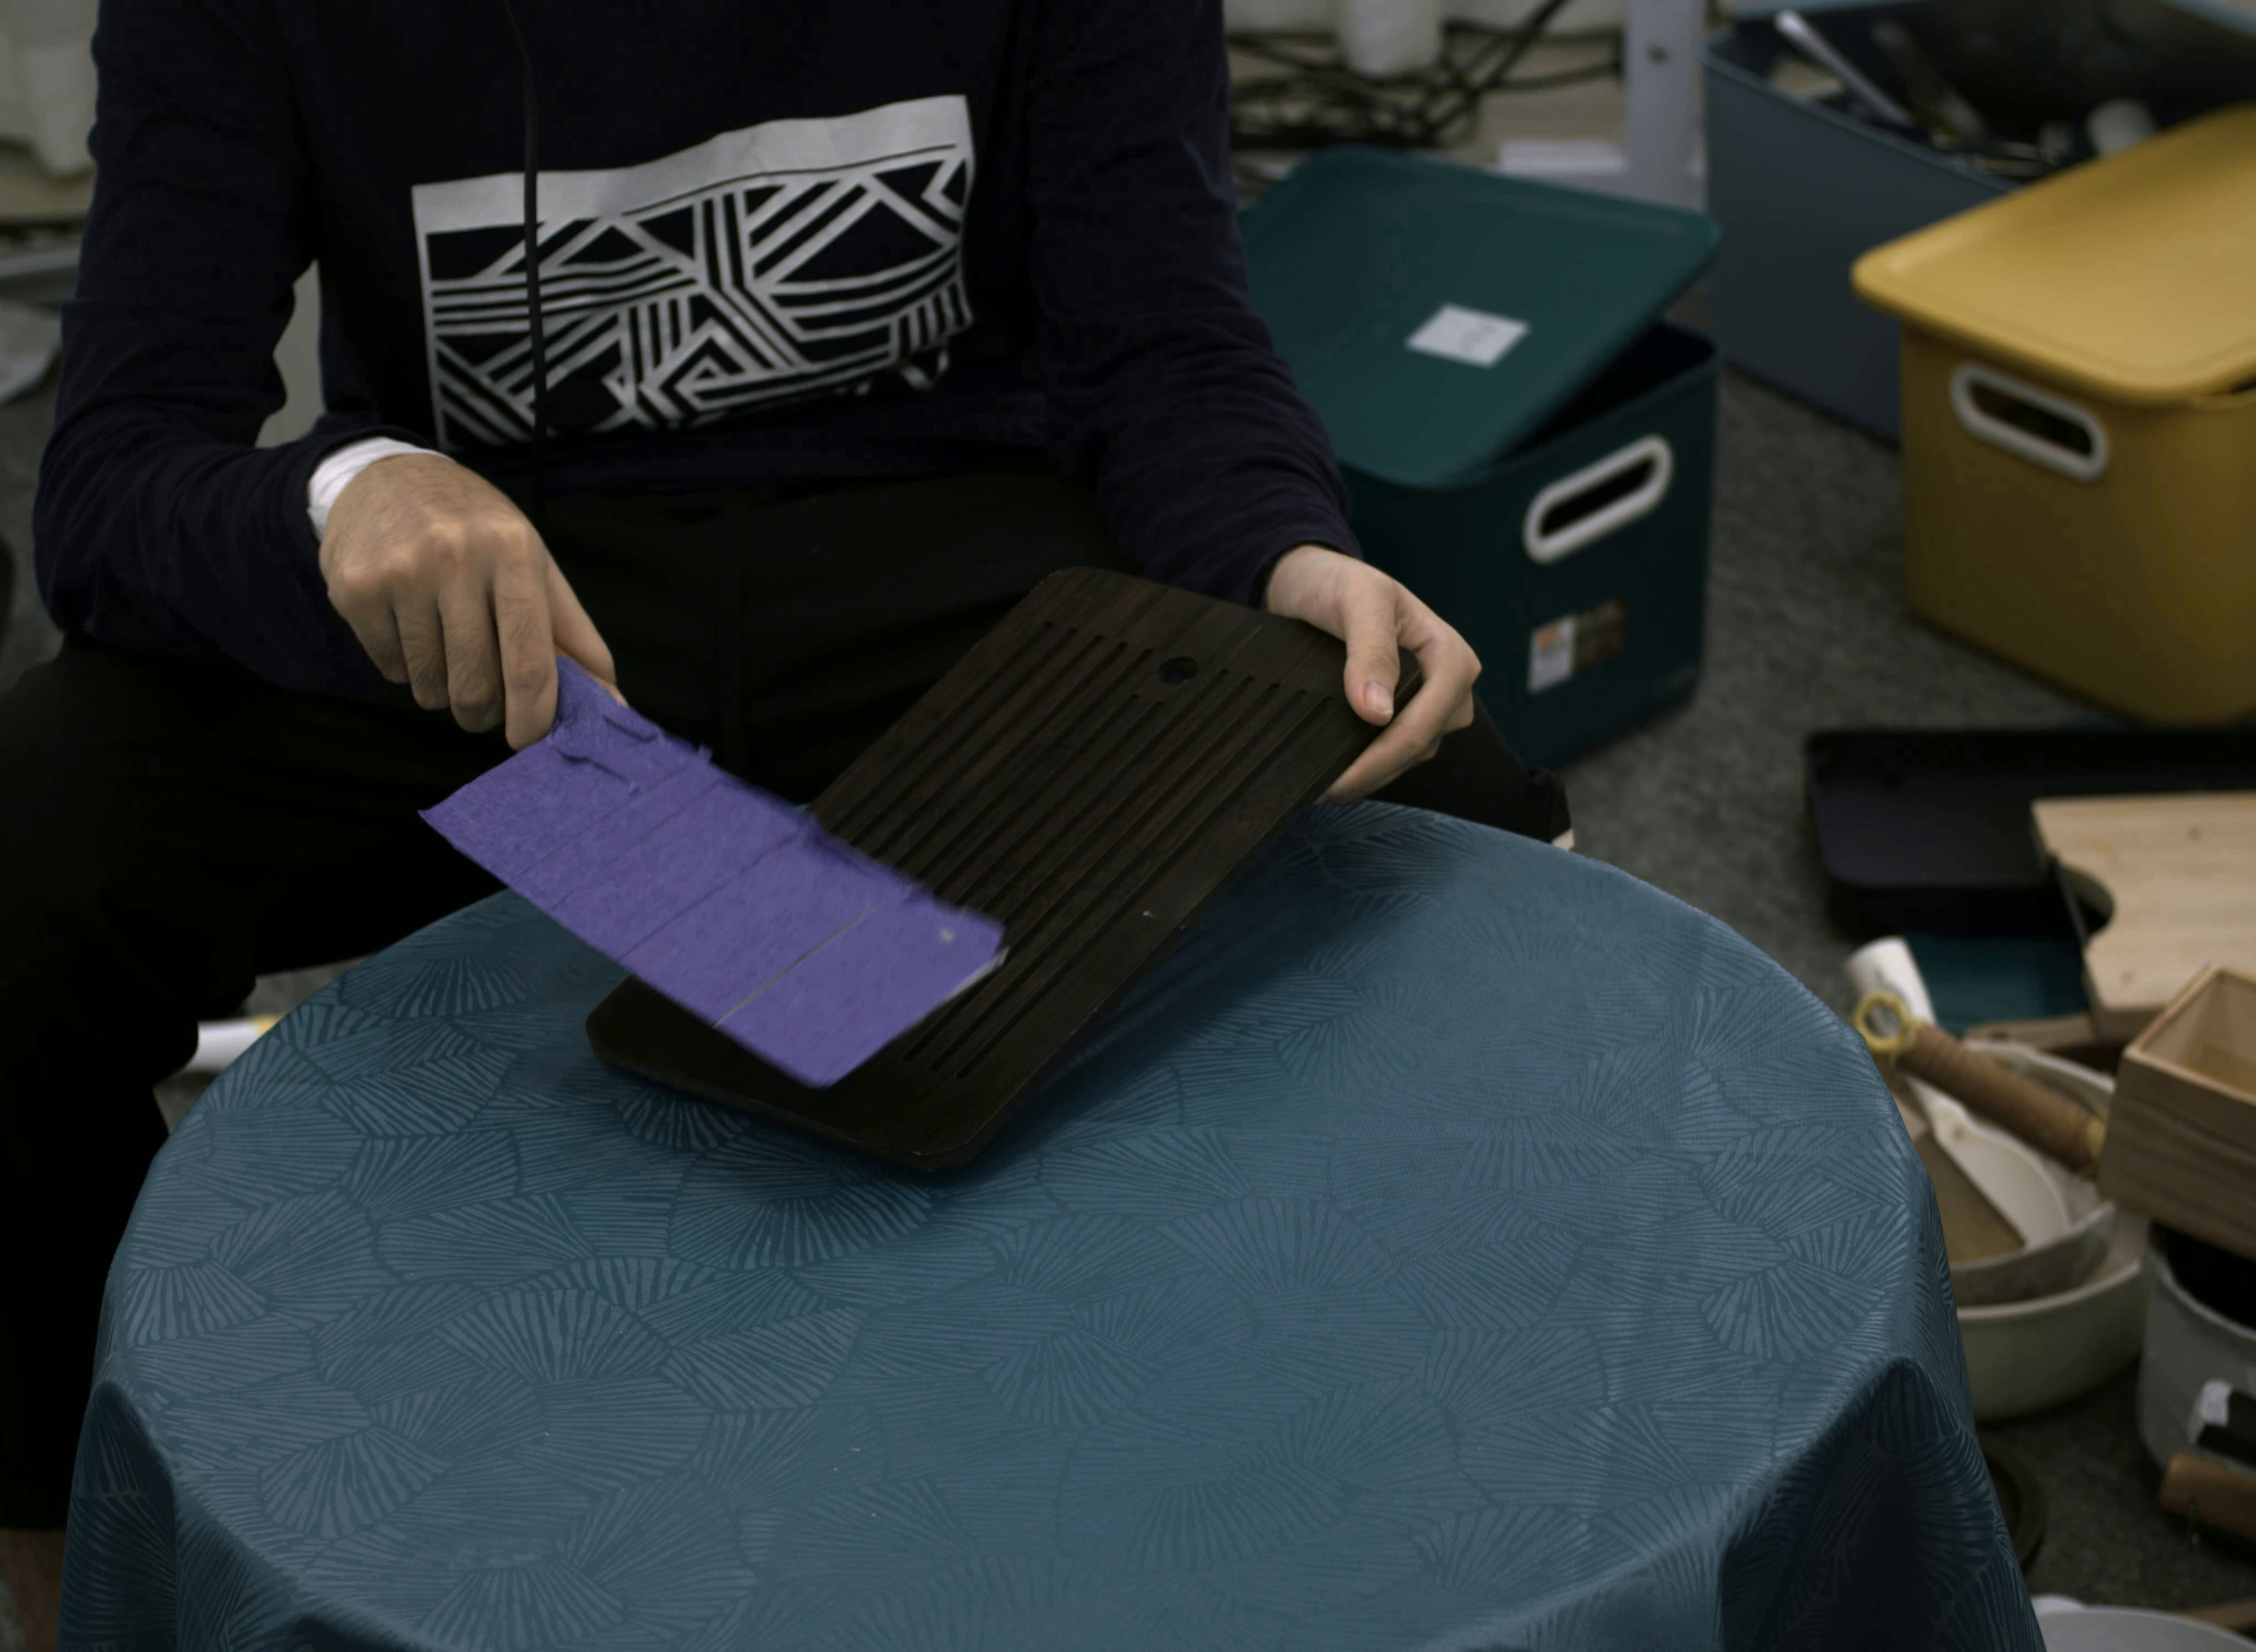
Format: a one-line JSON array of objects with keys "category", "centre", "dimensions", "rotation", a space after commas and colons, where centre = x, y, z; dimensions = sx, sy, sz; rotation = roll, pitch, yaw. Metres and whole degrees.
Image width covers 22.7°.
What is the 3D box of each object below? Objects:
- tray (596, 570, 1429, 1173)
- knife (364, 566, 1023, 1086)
[{"category": "tray", "centre": [-0.037, 0.013, 1.996], "dimensions": [0.169, 0.018, 0.311], "rotation": [15, 43, 33]}, {"category": "knife", "centre": [-0.178, -0.003, 1.936], "dimensions": [0.105, 0.032, 0.315], "rotation": [-31, 46, -34]}]
